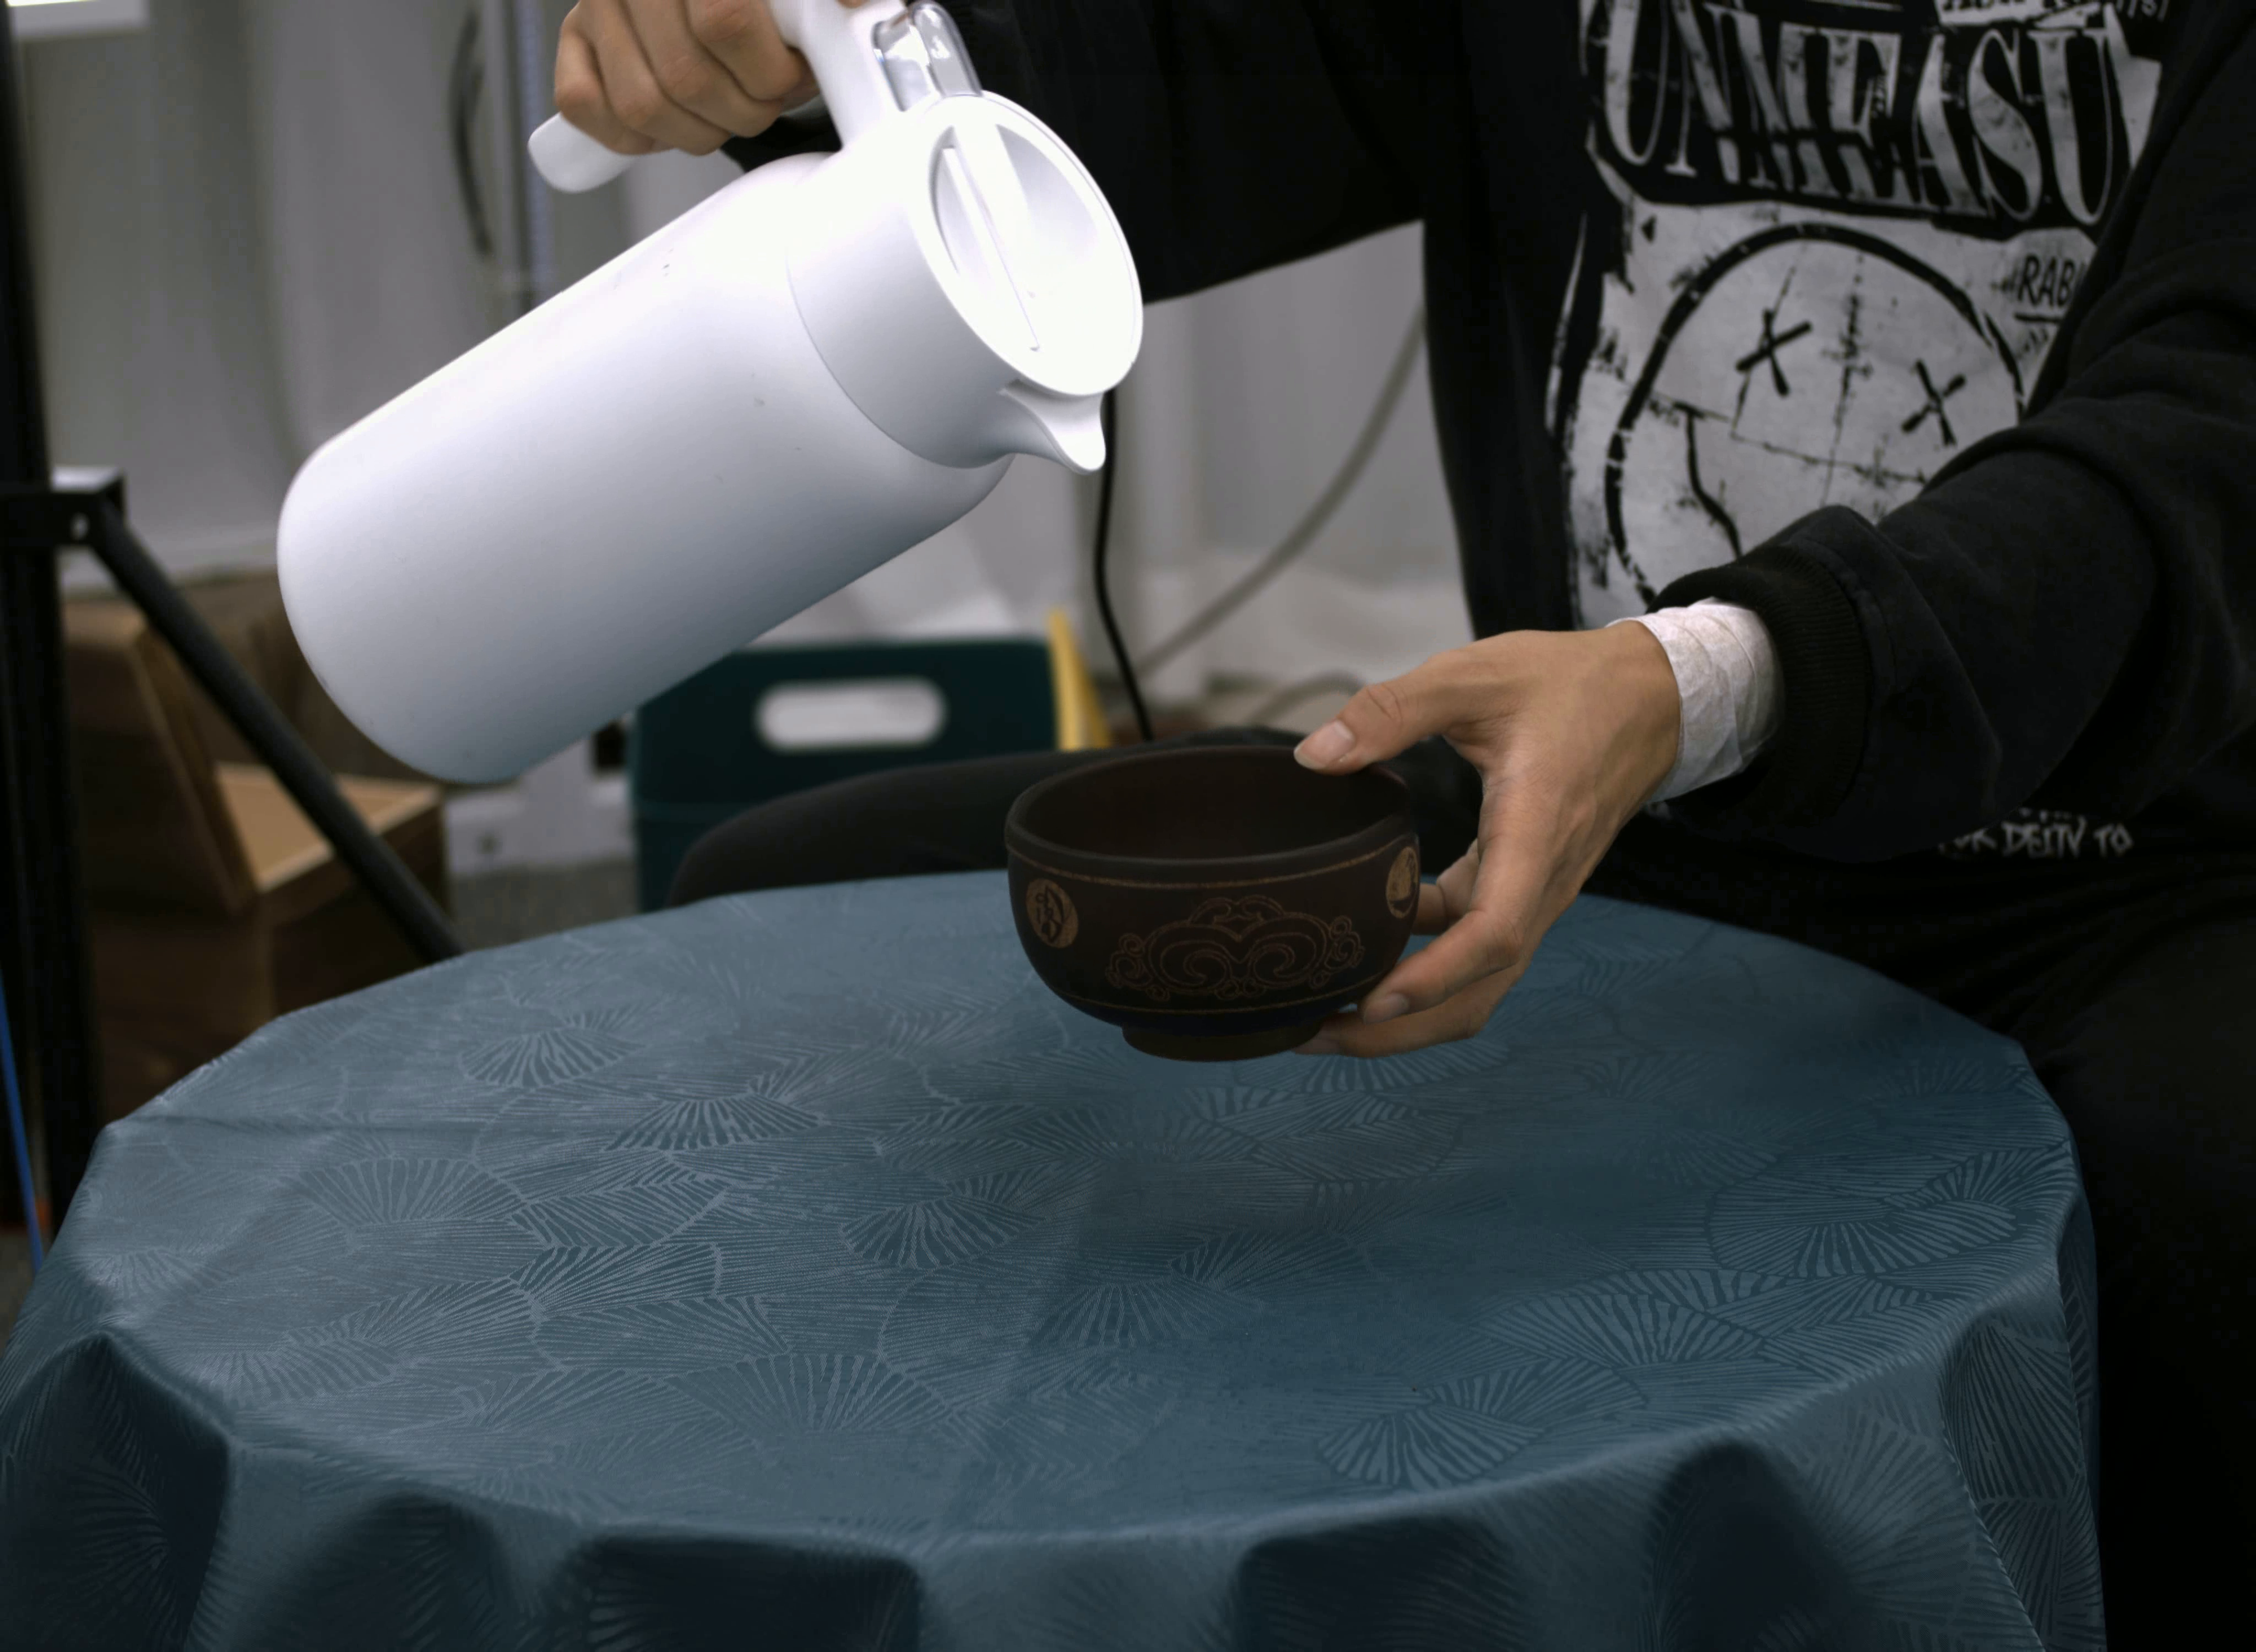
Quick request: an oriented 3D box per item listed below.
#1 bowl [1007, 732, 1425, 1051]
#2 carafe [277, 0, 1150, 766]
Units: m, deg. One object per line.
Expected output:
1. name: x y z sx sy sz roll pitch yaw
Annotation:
1. bowl: 0.026 0.022 1.501 0.117 0.070 0.118 -4 16 0
2. carafe: -0.130 -0.133 1.571 0.273 0.174 0.121 -27 -8 37
